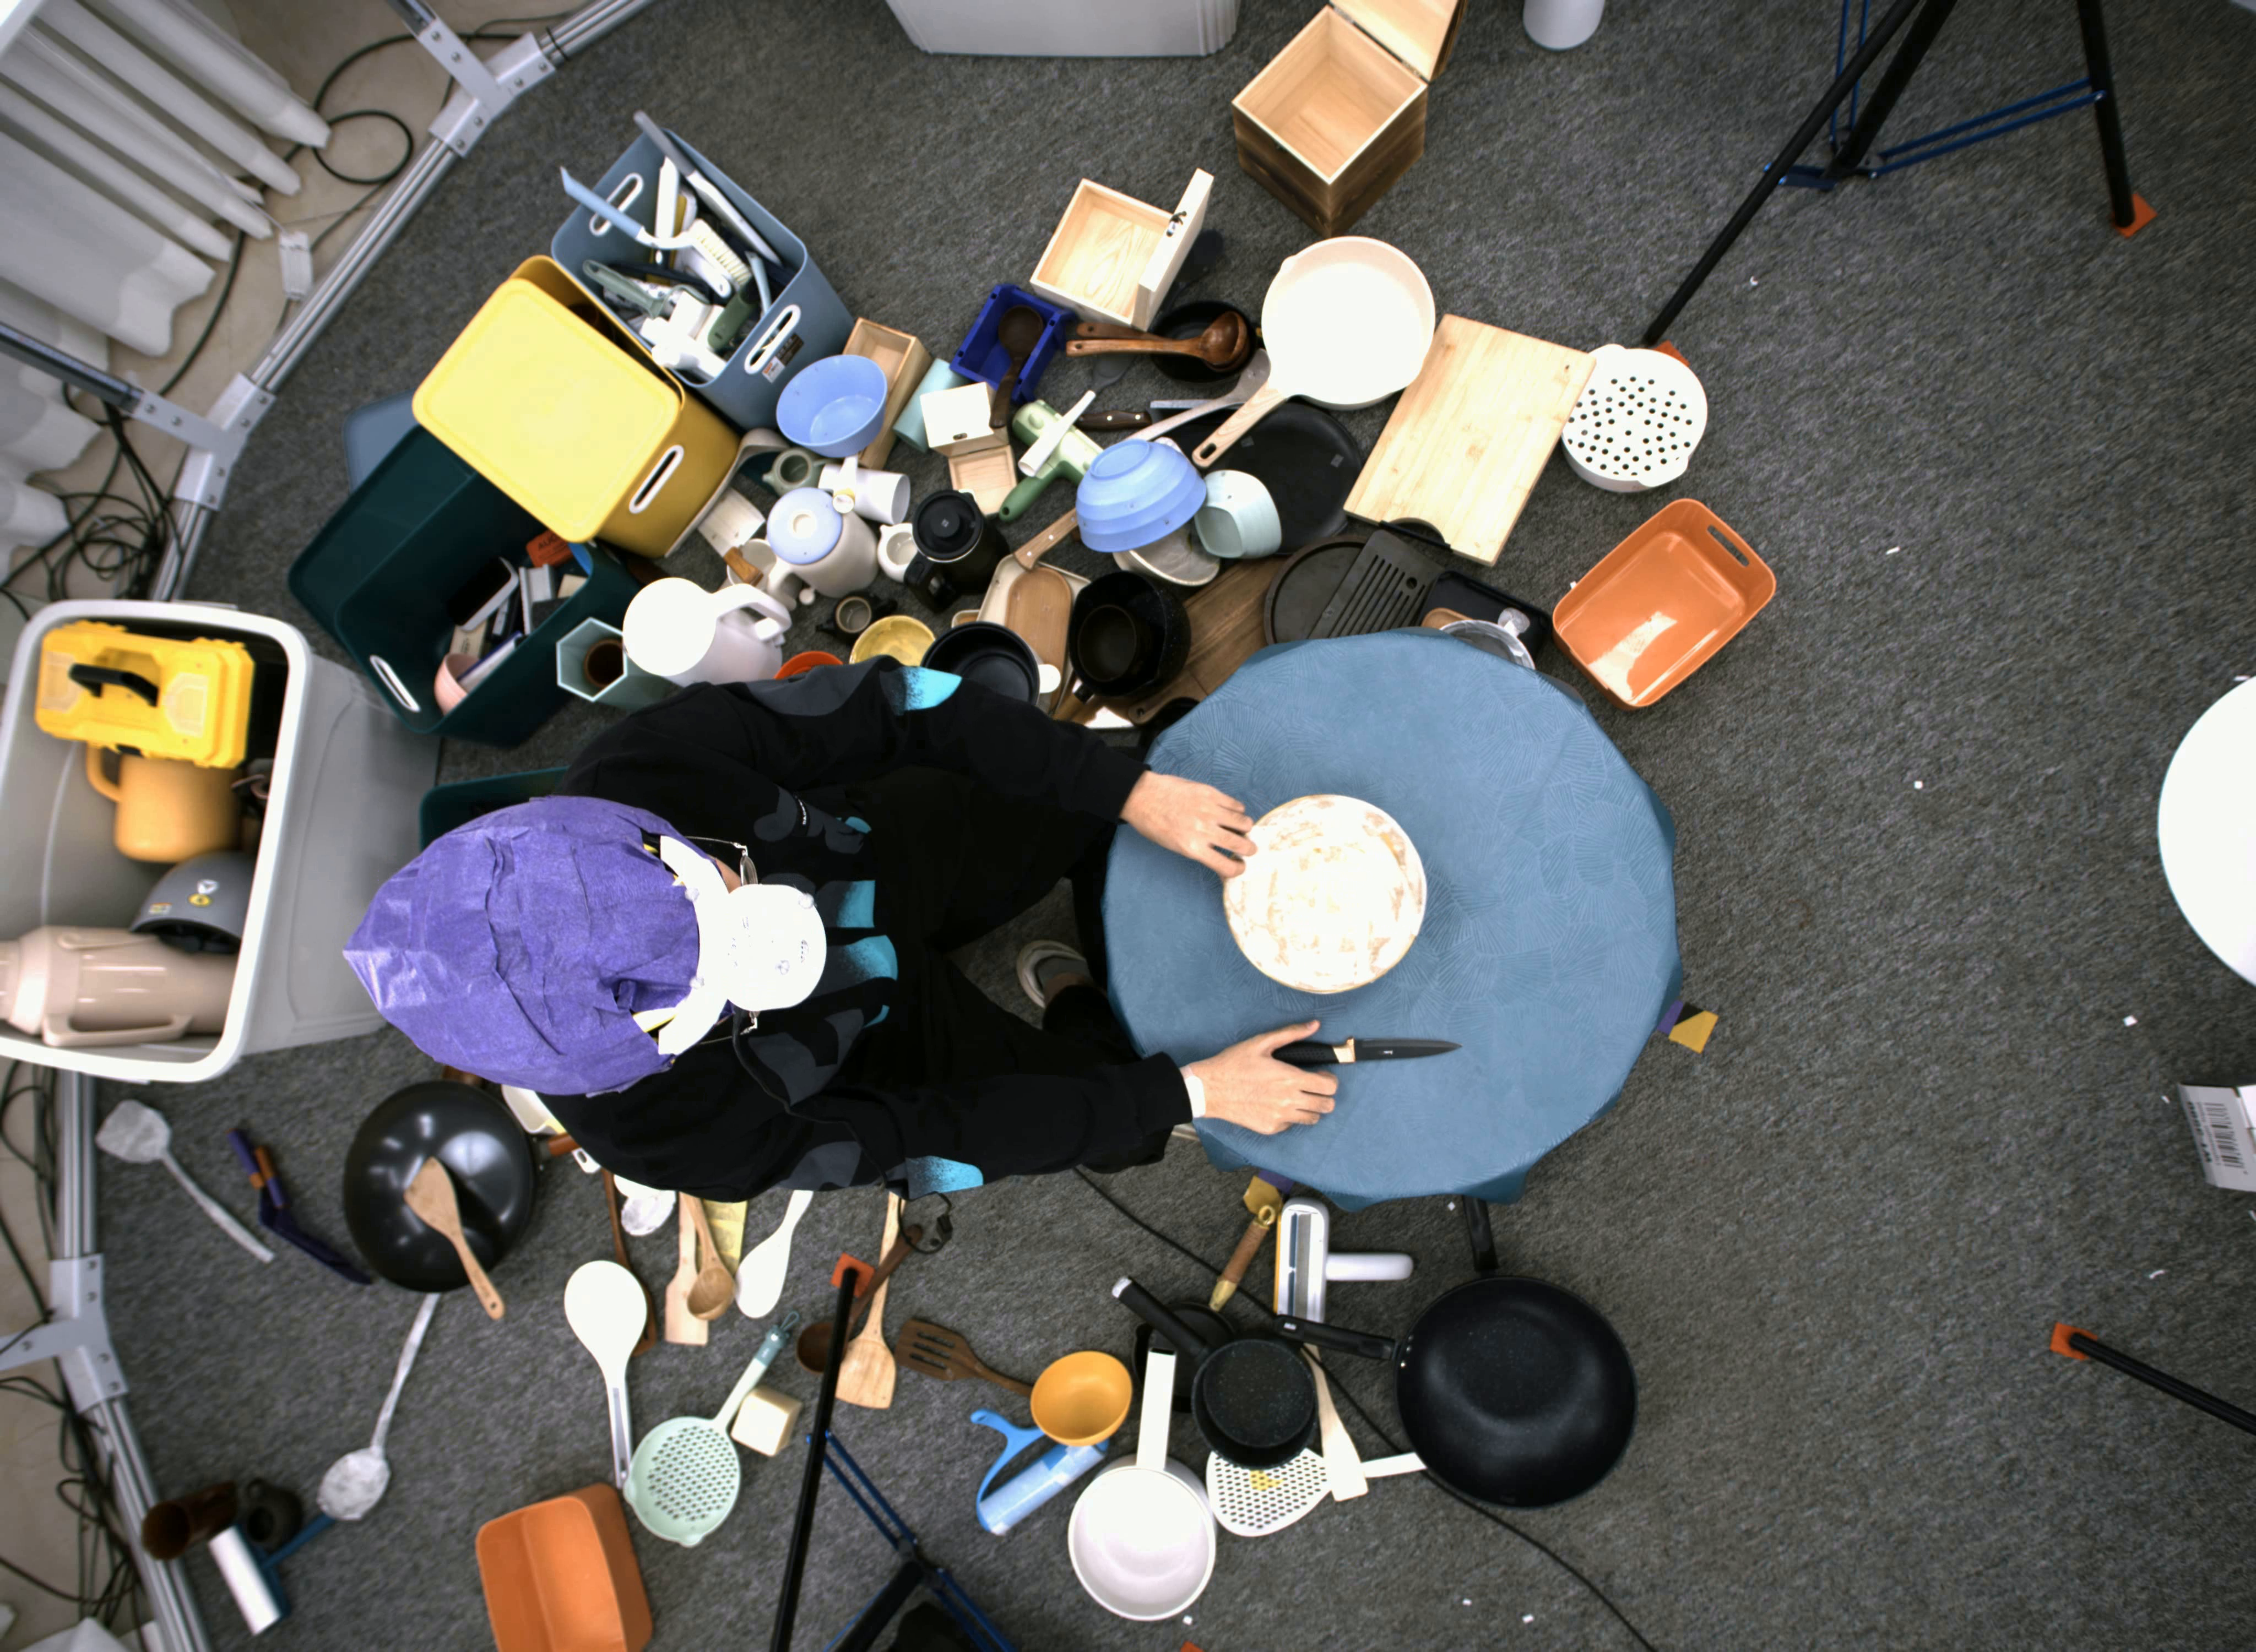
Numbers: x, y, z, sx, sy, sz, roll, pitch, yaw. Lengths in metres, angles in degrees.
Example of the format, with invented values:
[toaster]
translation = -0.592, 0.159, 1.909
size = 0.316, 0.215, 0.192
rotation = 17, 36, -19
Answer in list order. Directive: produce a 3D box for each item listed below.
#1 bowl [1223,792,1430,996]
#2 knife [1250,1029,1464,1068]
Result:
[bowl]
translation = 0.201, 0.069, 1.424
size = 0.215, 0.094, 0.214
rotation = 0, 88, 9
[knife]
translation = 0.239, 0.232, 1.452
size = 0.226, 0.017, 0.026
rotation = -7, 77, 9
